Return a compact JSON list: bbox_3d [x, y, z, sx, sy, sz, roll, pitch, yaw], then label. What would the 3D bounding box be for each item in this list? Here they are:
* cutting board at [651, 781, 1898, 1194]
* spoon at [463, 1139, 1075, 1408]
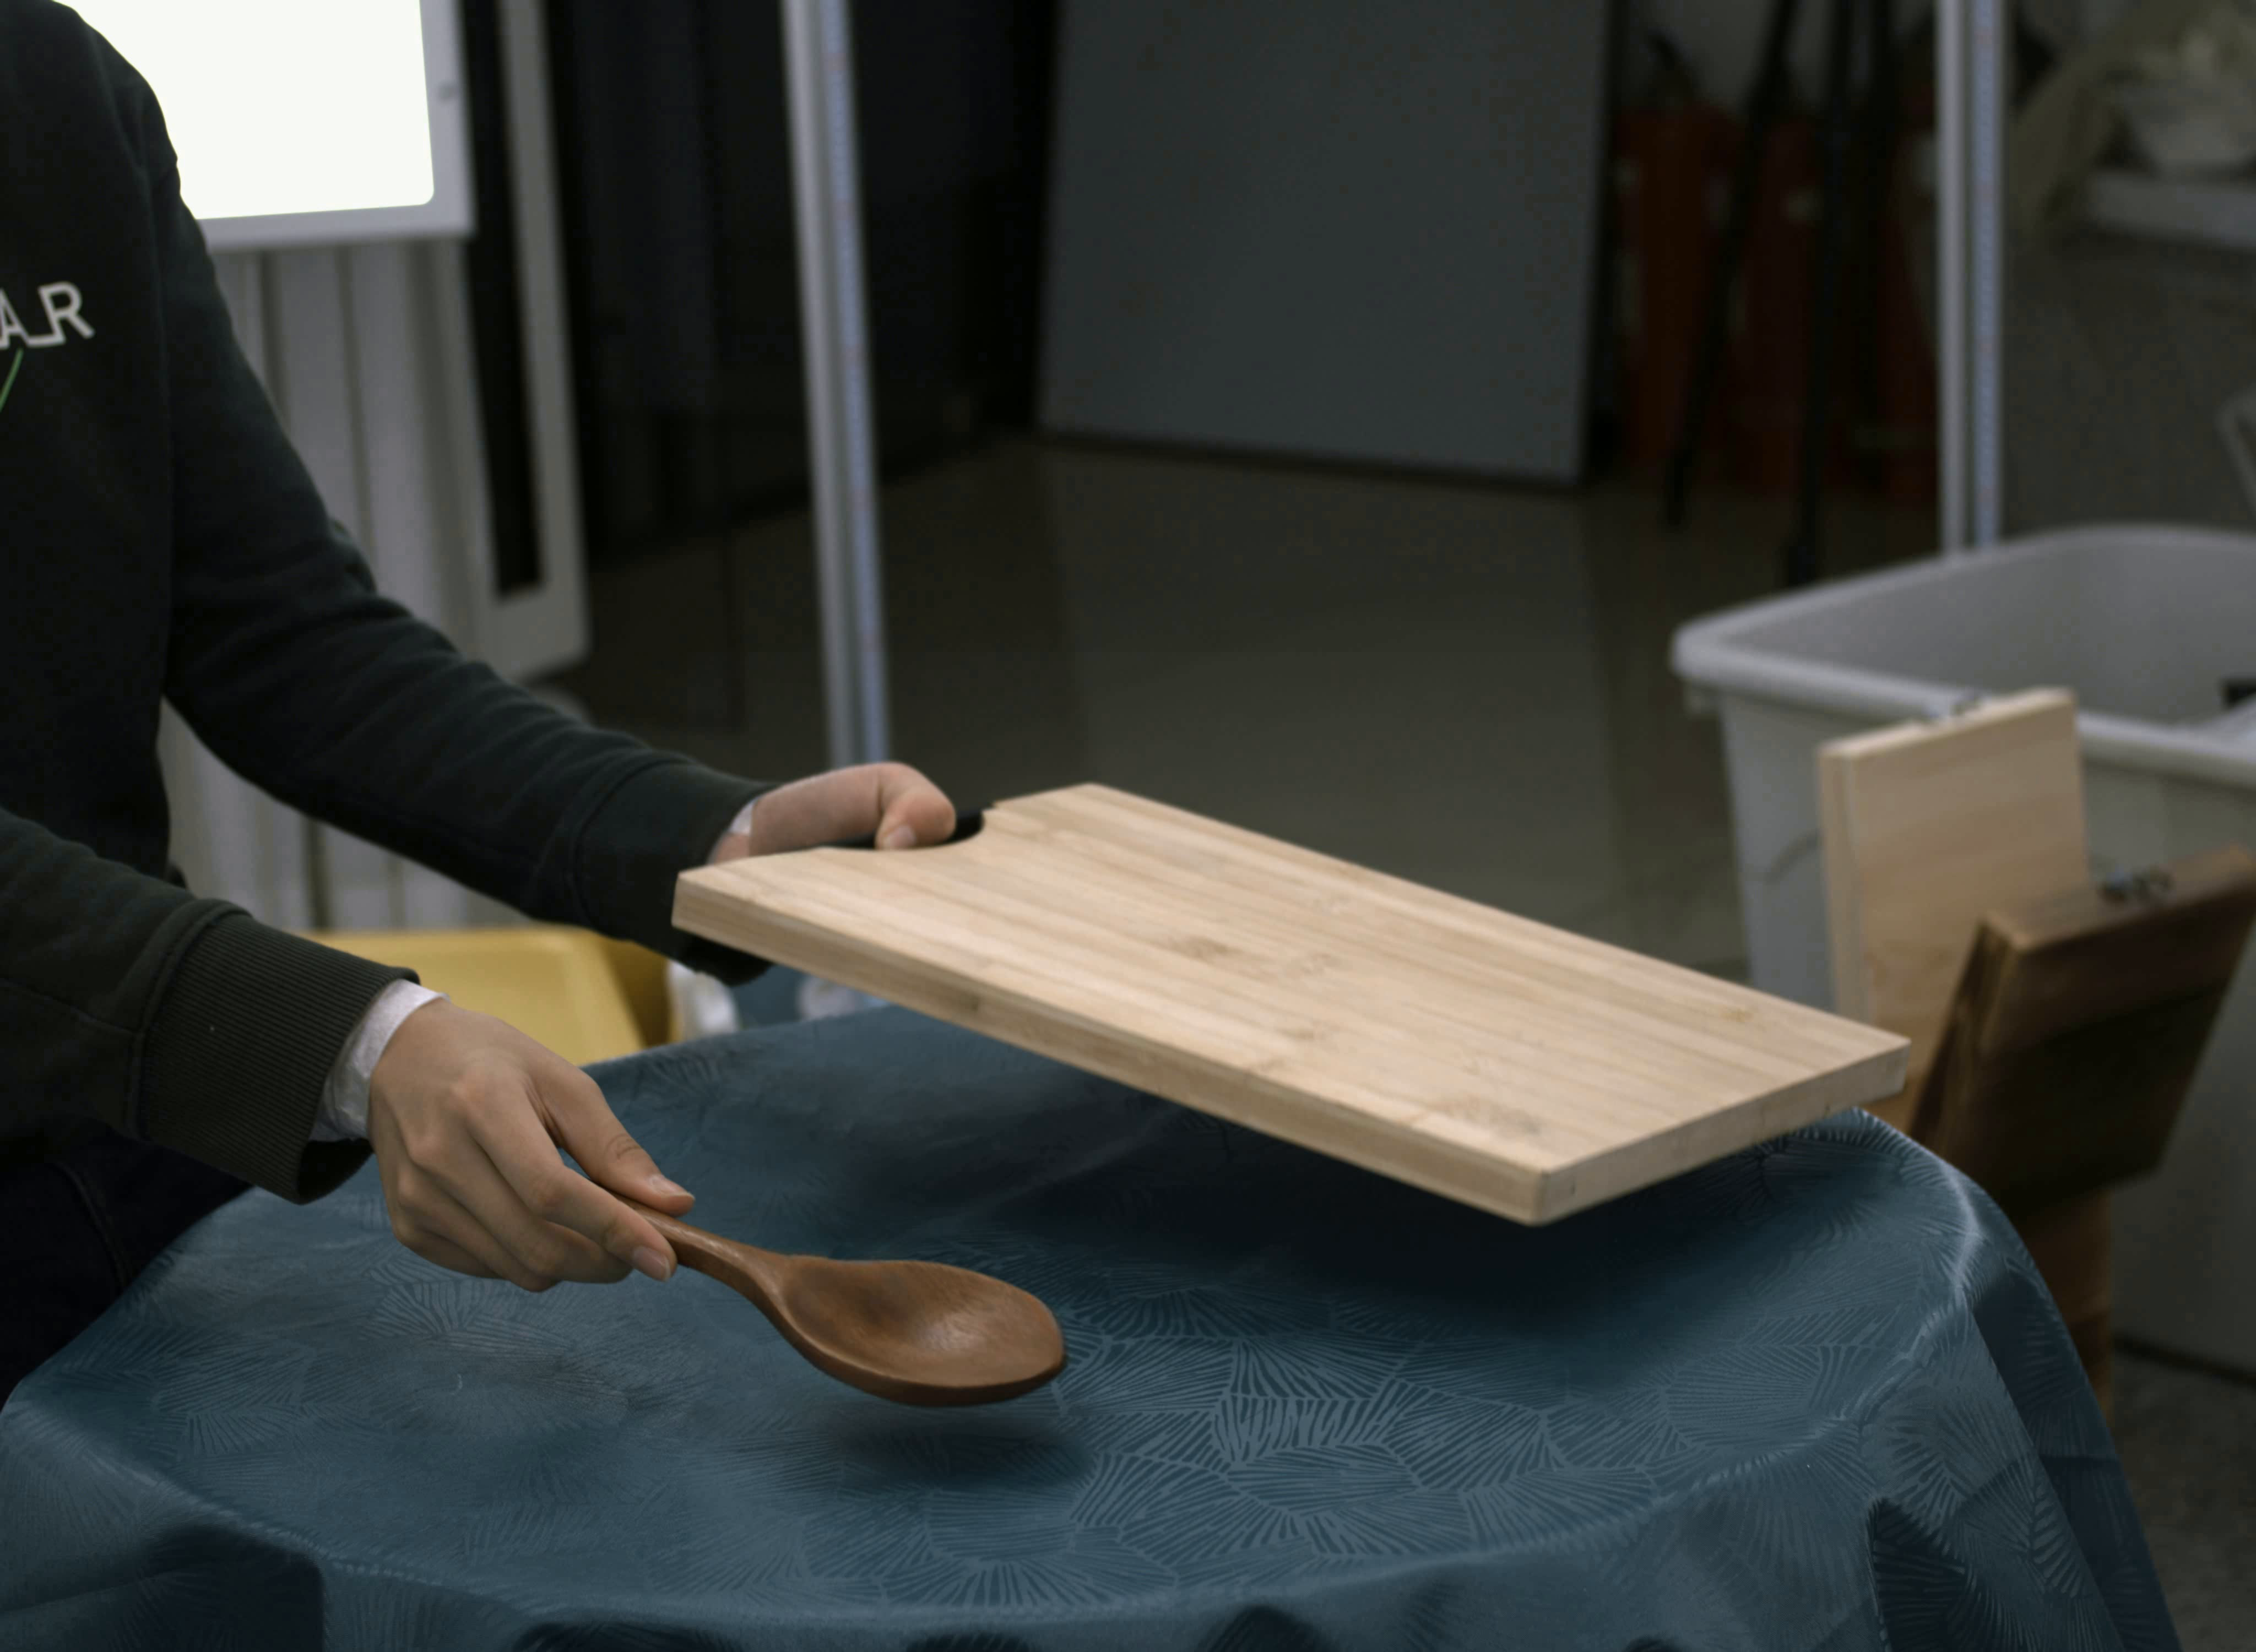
[{"bbox_3d":[0.048,0.048,1.770,0.351,0.024,0.246,17,16,33],"label":"cutting board"},{"bbox_3d":[-0.109,0.130,1.587,0.217,0.017,0.074,18,29,31],"label":"spoon"}]
